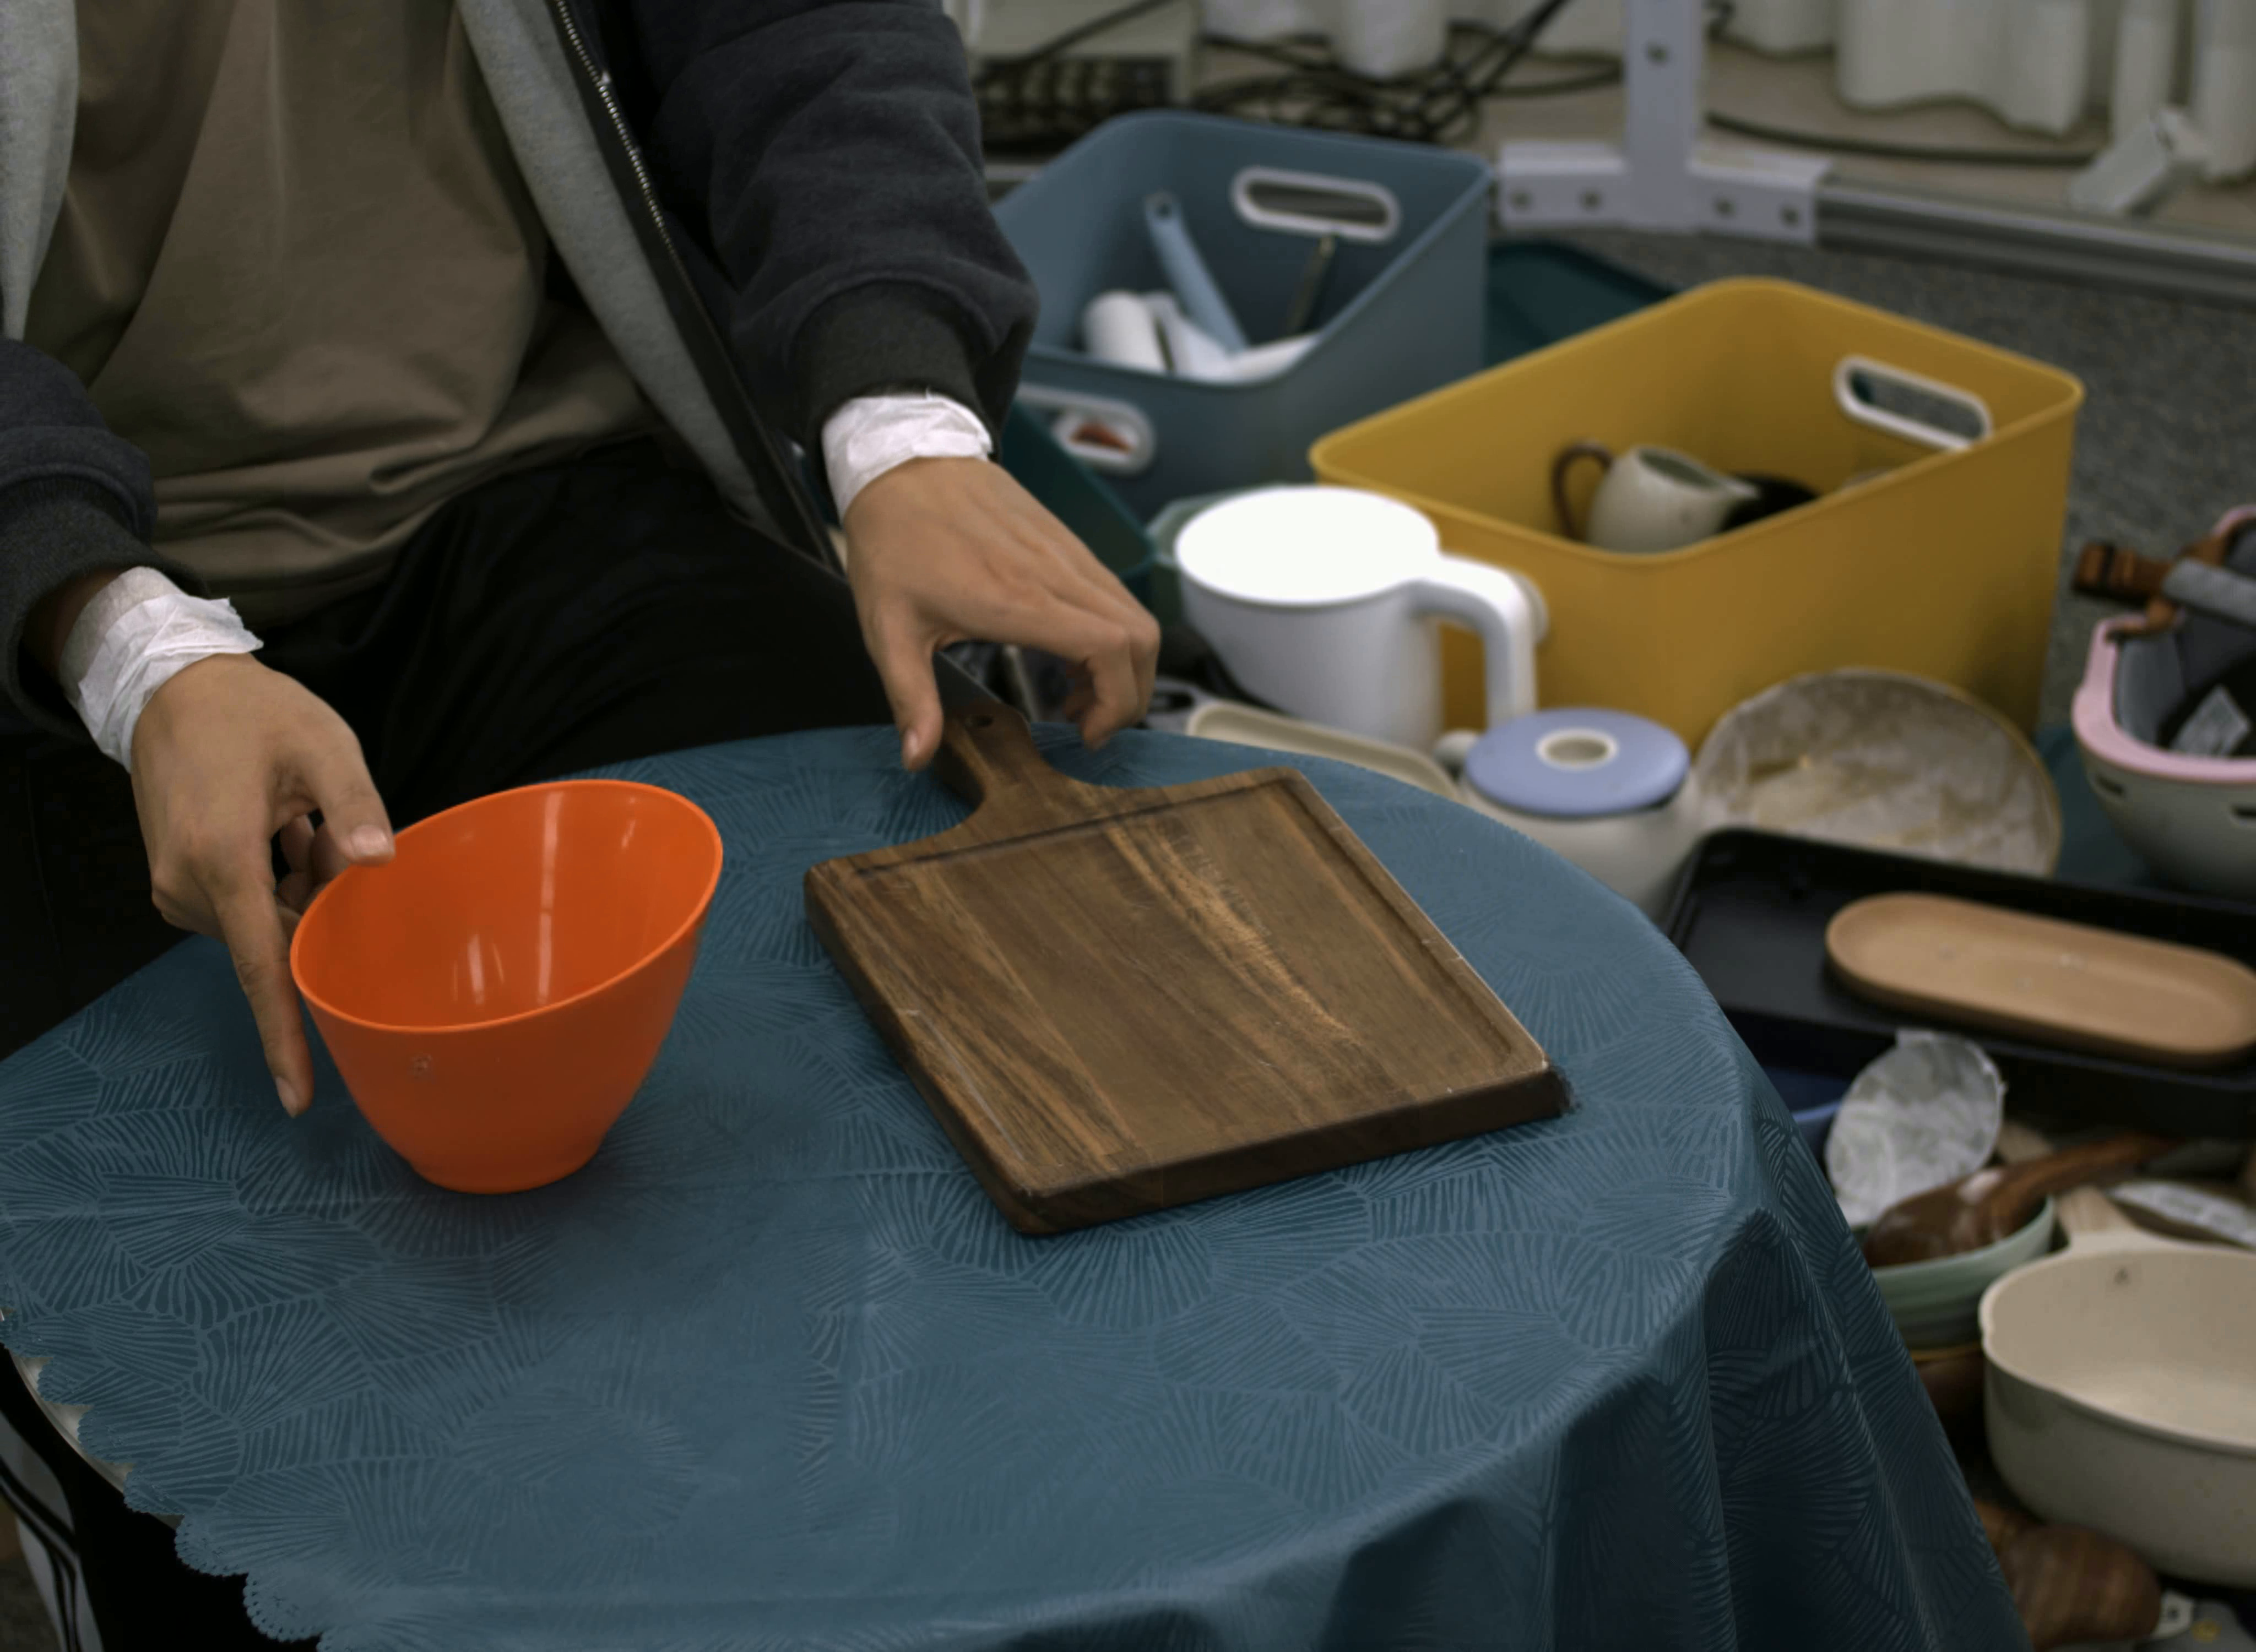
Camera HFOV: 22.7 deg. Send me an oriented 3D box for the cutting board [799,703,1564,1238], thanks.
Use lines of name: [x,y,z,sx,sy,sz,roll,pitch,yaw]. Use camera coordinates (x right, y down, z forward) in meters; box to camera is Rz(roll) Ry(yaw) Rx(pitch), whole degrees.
cutting board: [-0.003,0.035,2.007,0.201,0.023,0.355,-12,28,-17]

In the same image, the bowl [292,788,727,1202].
bowl: [-0.203,0.063,1.888,0.147,0.103,0.150,-2,27,2]
